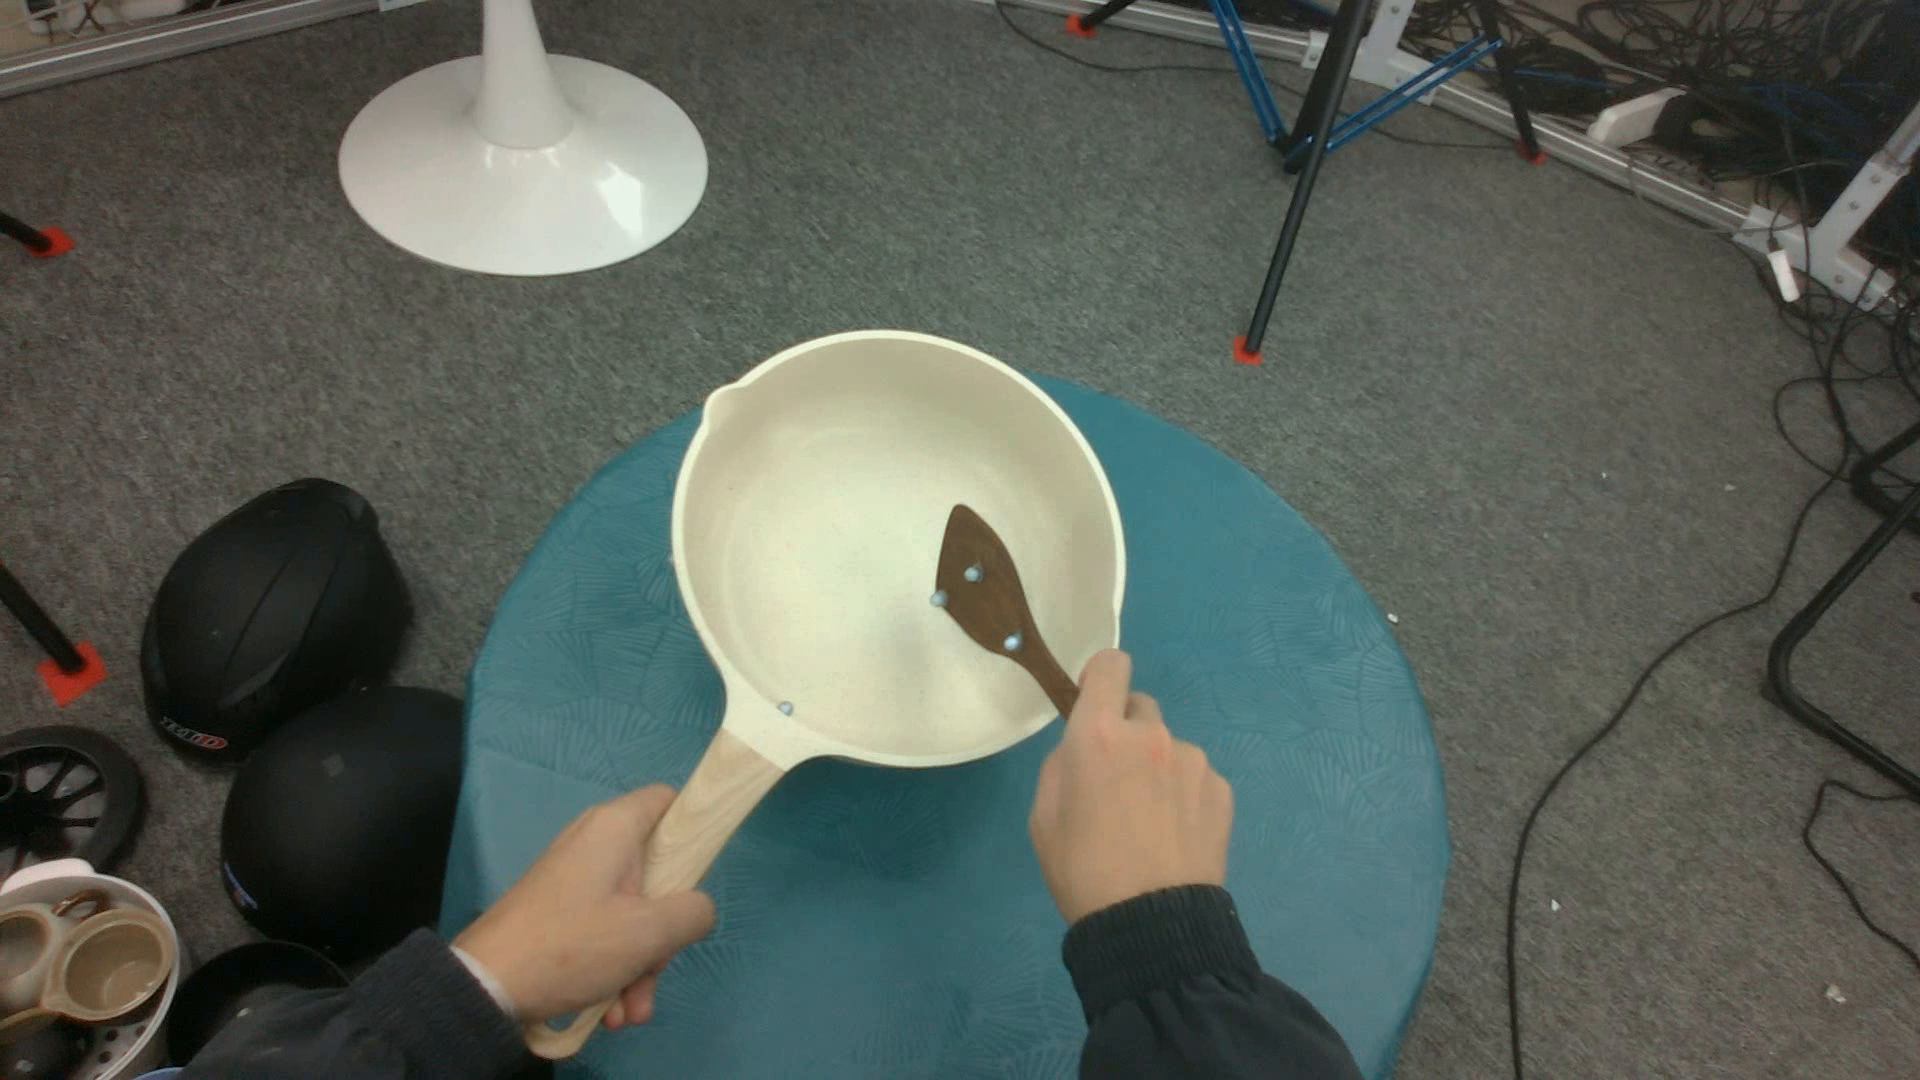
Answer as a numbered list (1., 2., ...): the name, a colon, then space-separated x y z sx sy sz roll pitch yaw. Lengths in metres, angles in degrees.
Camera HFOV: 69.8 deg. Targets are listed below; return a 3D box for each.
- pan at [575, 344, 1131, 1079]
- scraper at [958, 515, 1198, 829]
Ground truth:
1. pan: -0.075 0.087 0.751 0.263 0.101 0.436 32 65 -1
2. scraper: 0.058 0.071 0.725 0.011 0.075 0.211 -13 43 -29
